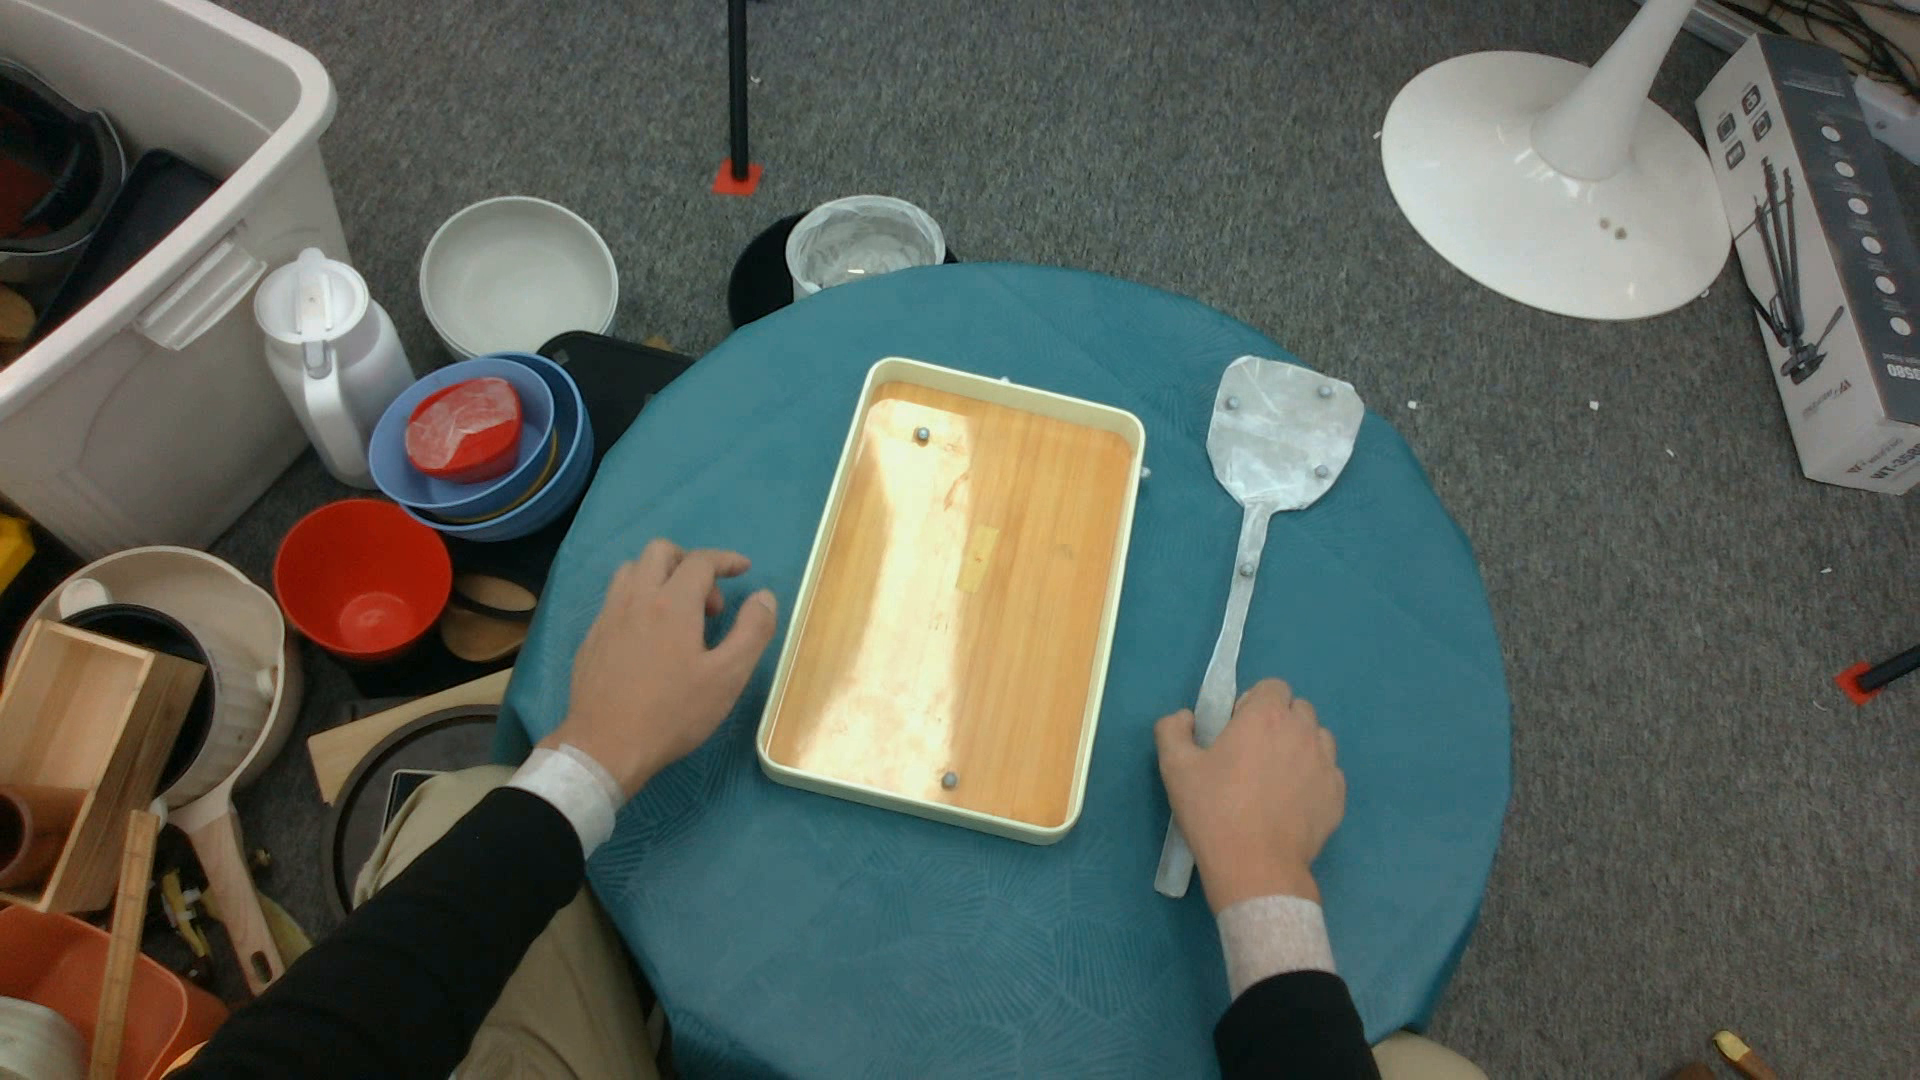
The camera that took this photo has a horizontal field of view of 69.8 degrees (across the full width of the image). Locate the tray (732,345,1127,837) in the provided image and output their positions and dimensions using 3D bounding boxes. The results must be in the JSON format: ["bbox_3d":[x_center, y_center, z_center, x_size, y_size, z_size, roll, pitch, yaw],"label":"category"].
[{"bbox_3d":[-0.010,0.021,0.851,0.191,0.027,0.301,14,60,0],"label":"tray"}]

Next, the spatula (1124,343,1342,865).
[{"bbox_3d":[0.161,0.031,0.862,0.098,0.044,0.366,18,60,3],"label":"spatula"}]
